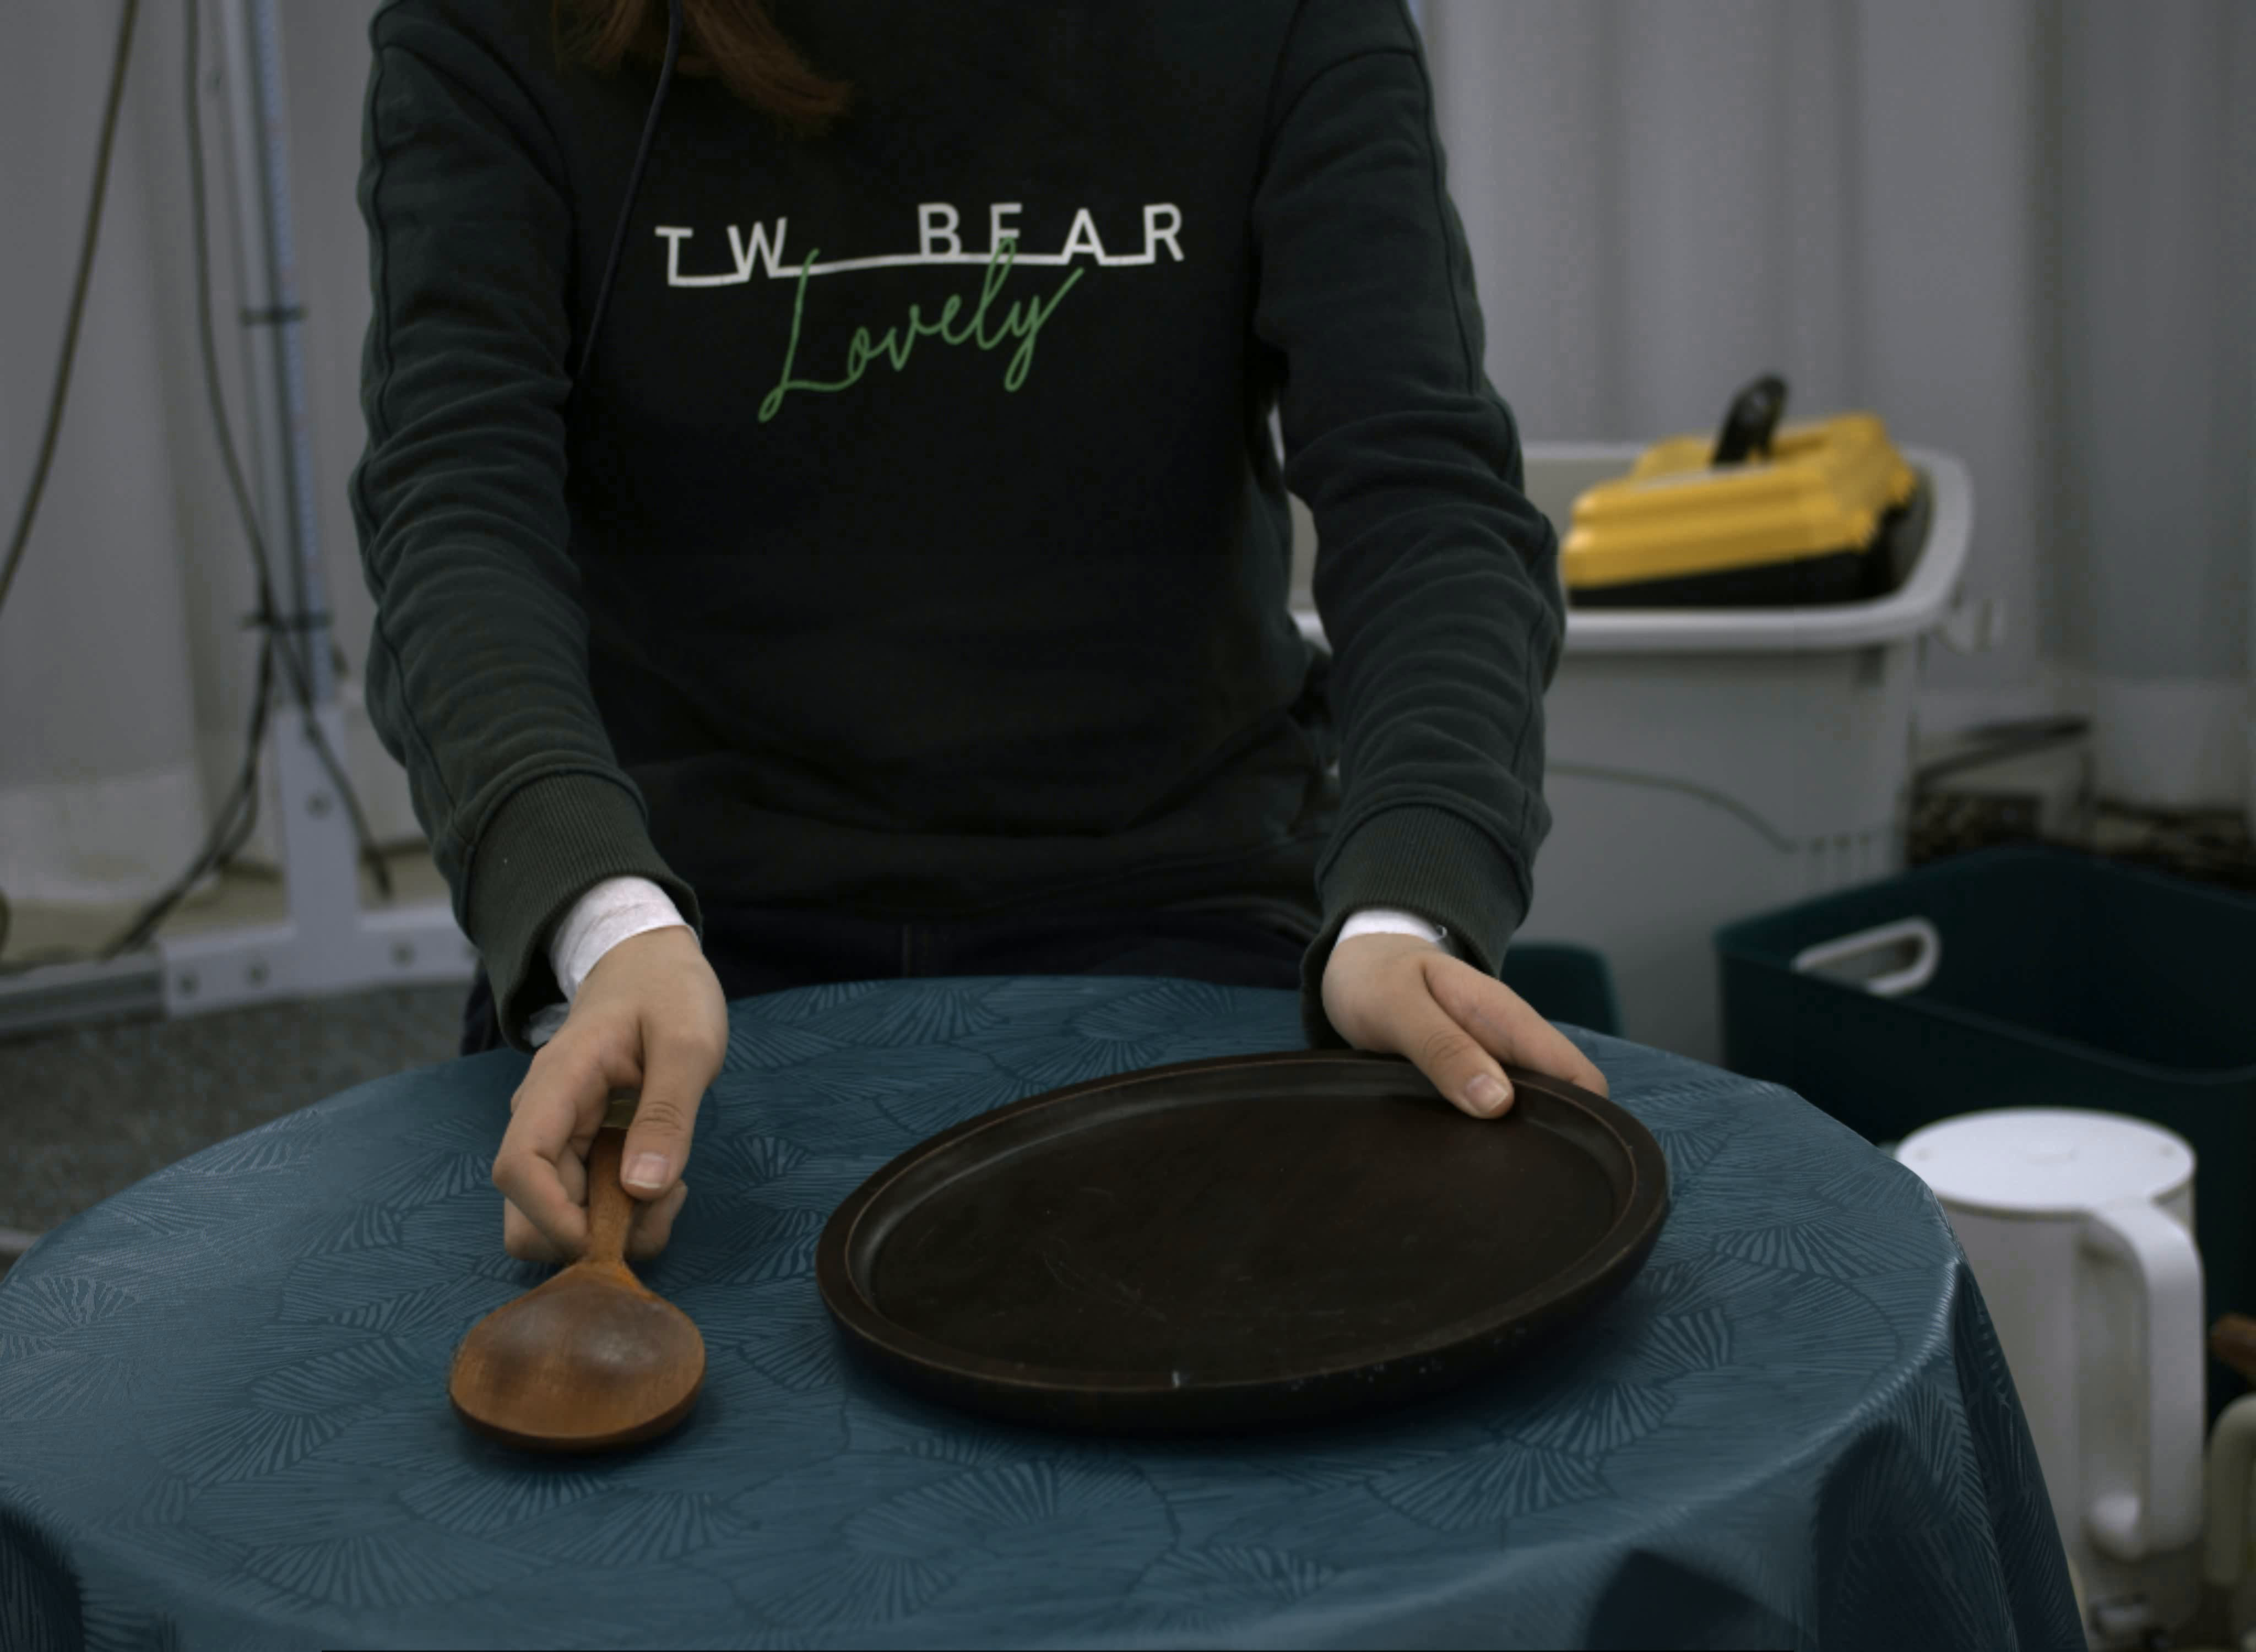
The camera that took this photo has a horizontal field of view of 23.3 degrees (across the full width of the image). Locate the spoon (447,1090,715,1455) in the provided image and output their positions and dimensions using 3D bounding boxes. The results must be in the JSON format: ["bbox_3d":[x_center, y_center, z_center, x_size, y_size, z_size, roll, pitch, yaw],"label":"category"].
[{"bbox_3d":[-0.154,0.131,1.603,0.075,0.017,0.218,-1,23,1],"label":"spoon"}]

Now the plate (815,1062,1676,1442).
[{"bbox_3d":[0.034,0.122,1.603,0.254,0.029,0.257,-5,19,1],"label":"plate"}]
